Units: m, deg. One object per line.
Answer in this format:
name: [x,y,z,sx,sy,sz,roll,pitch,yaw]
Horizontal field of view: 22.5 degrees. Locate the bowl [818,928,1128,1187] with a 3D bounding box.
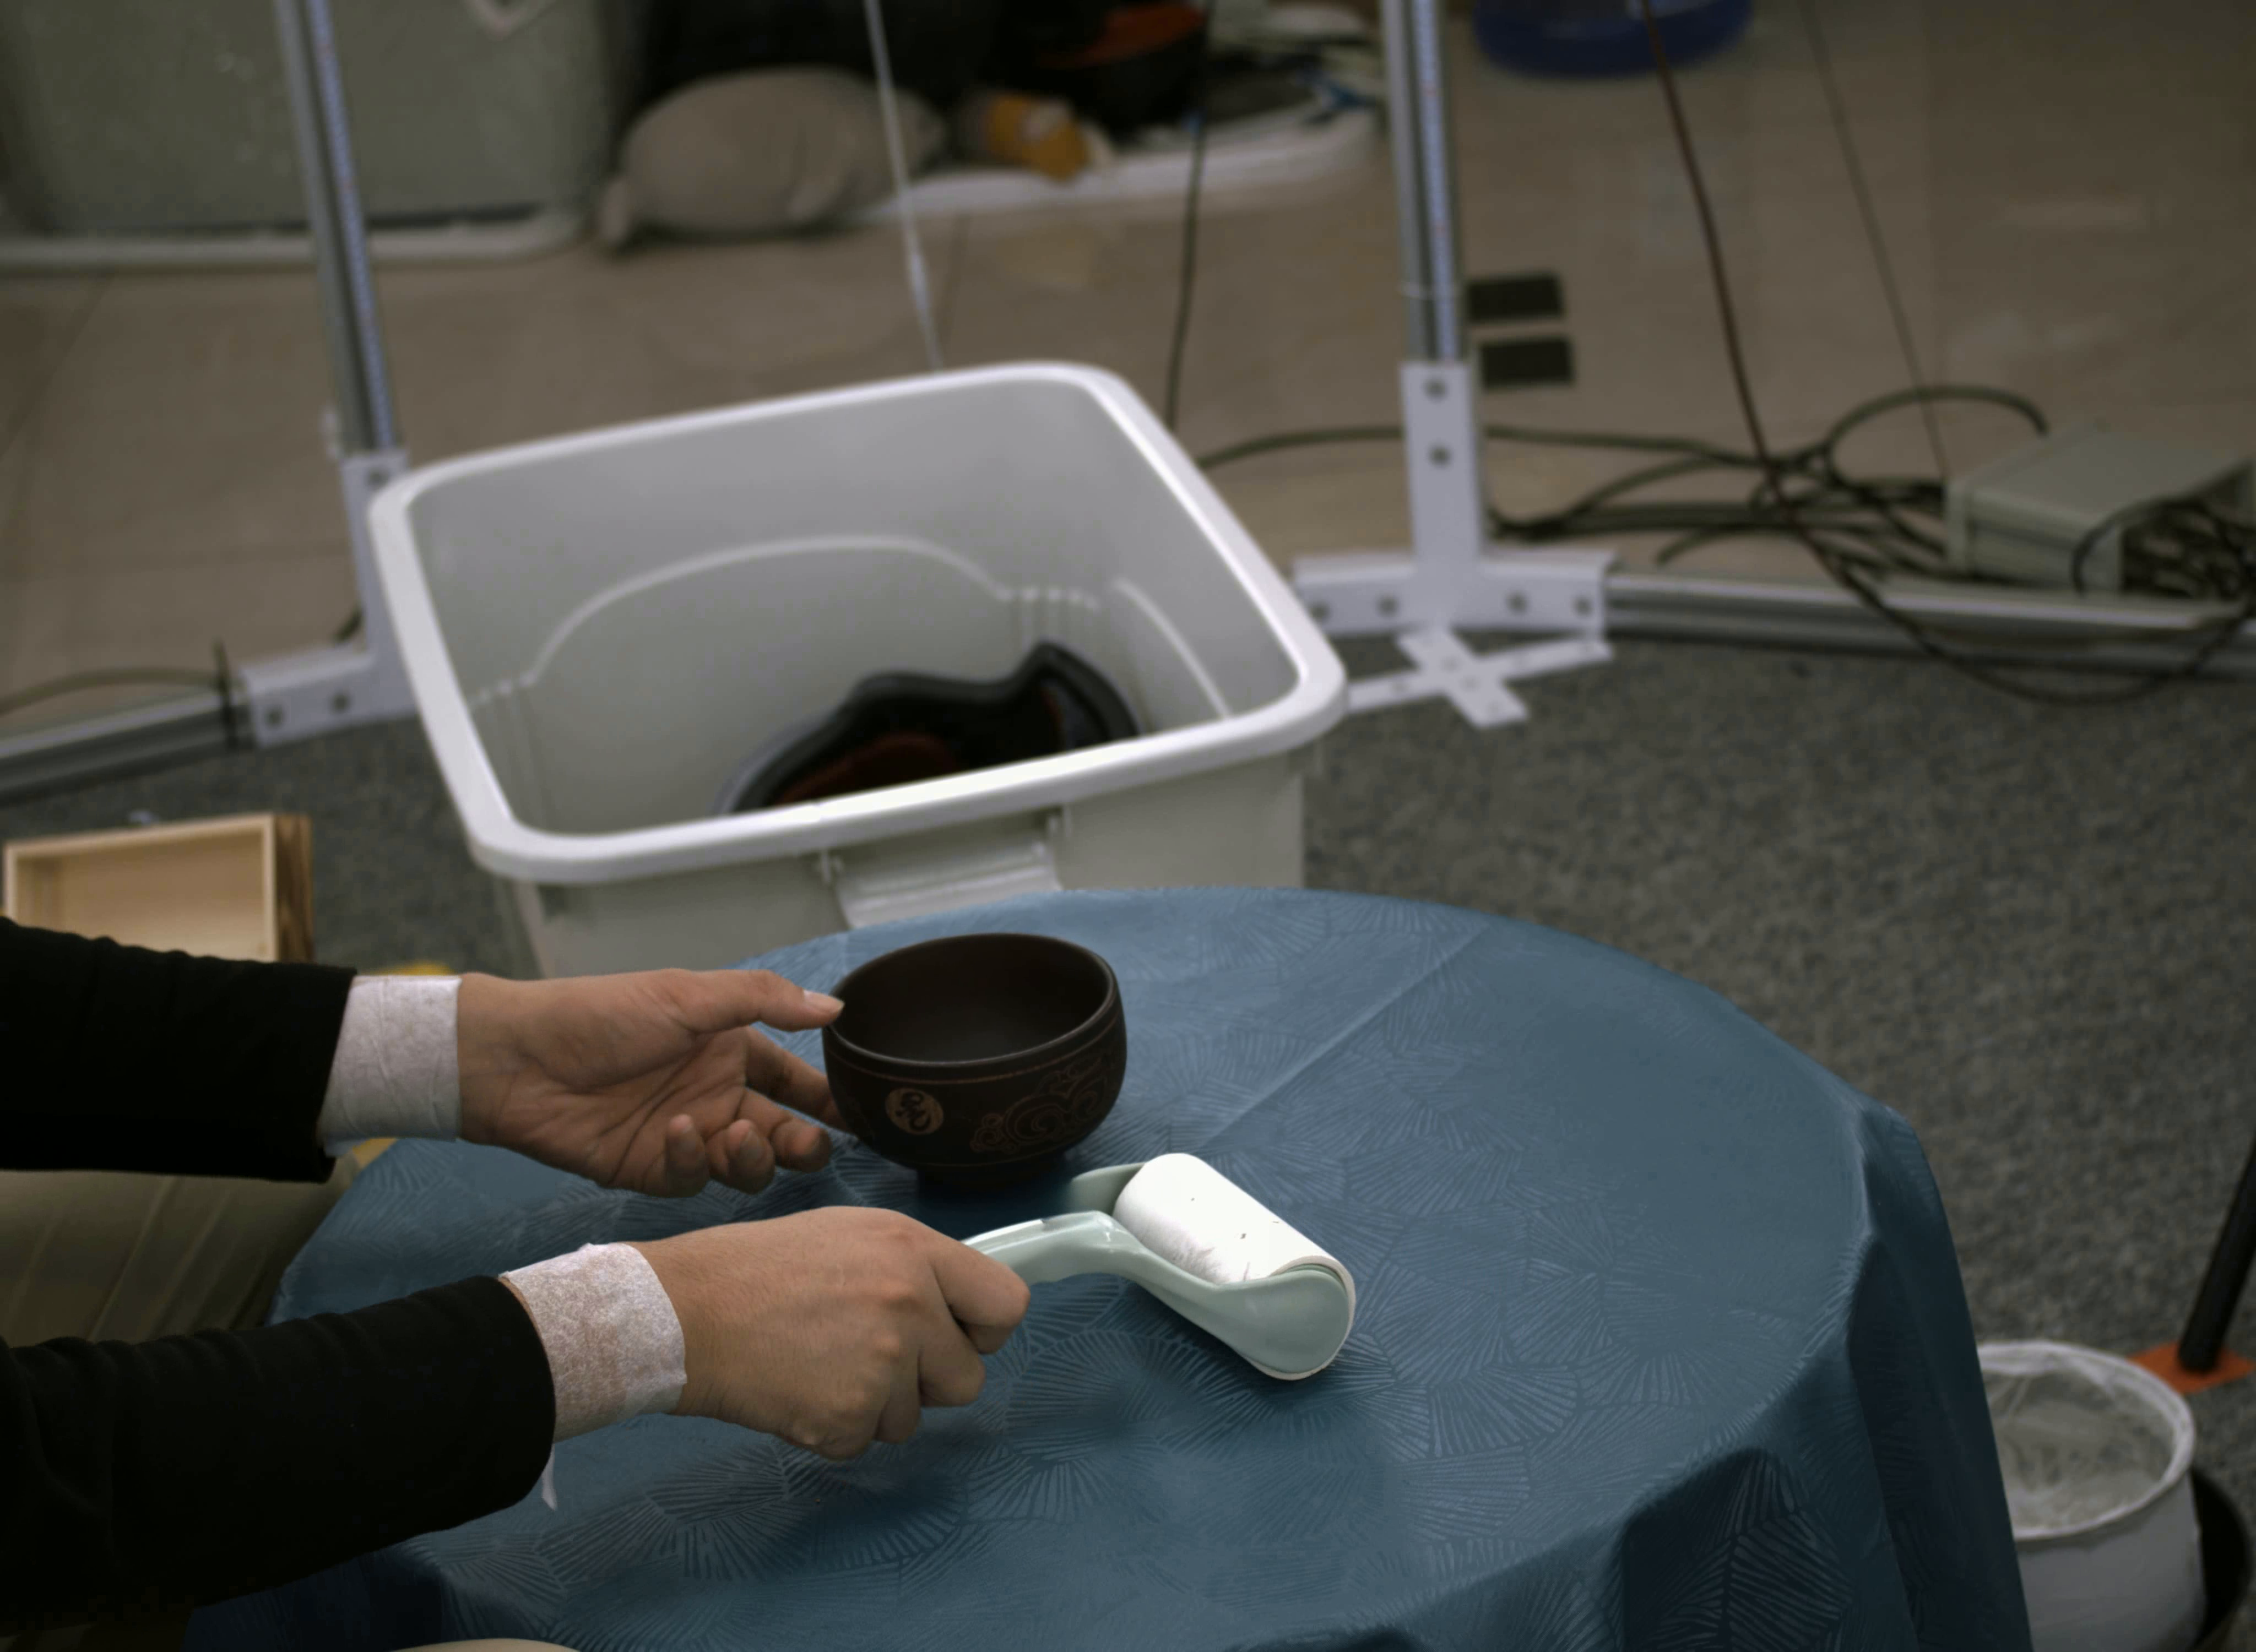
bowl: [-0.057,0.095,2.171,0.118,0.071,0.116,-6,26,3]

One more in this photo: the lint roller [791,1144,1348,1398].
lint roller: [-0.031,0.162,2.012,0.197,0.049,0.115,-7,23,-28]
